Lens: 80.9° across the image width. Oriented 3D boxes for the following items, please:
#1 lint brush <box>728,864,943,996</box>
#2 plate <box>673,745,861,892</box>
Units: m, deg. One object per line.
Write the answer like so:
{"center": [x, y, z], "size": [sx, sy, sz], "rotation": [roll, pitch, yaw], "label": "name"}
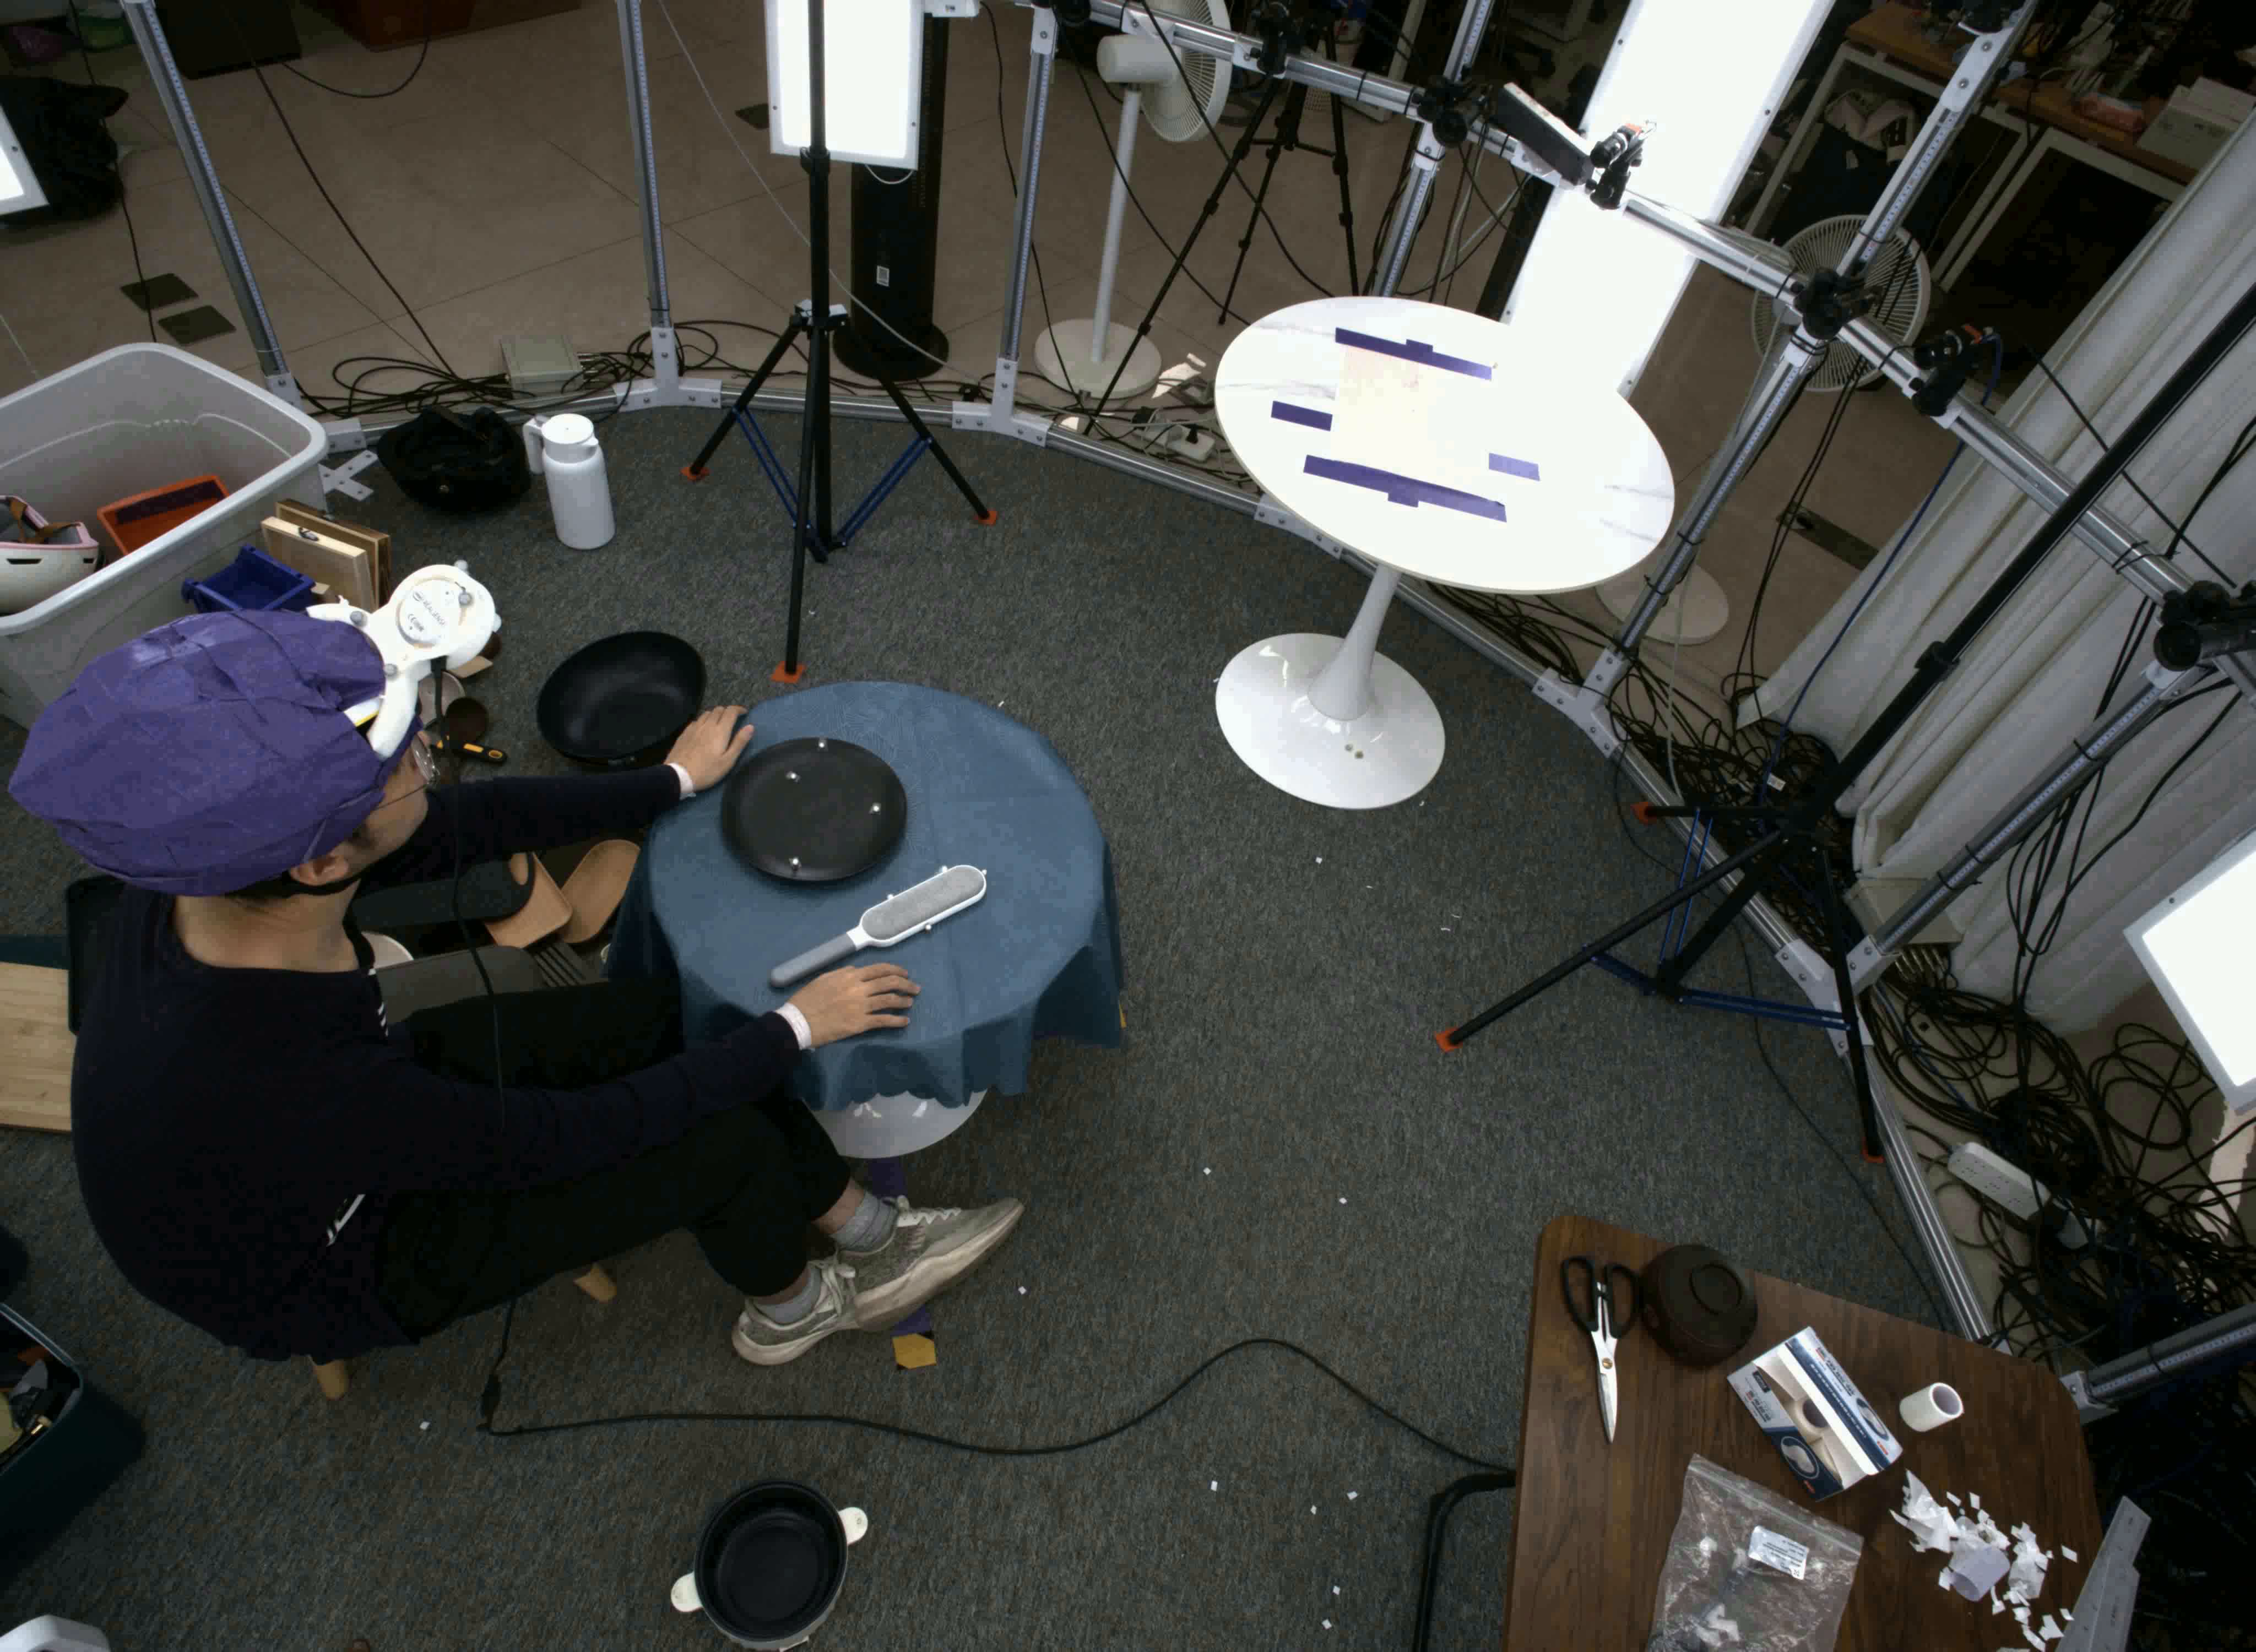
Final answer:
{"center": [-0.366, 0.128, 1.637], "size": [0.310, 0.021, 0.059], "rotation": [-30, 71, -31], "label": "lint brush"}
{"center": [-0.477, -0.010, 1.714], "size": [0.244, 0.024, 0.240], "rotation": [8, 53, -8], "label": "plate"}
